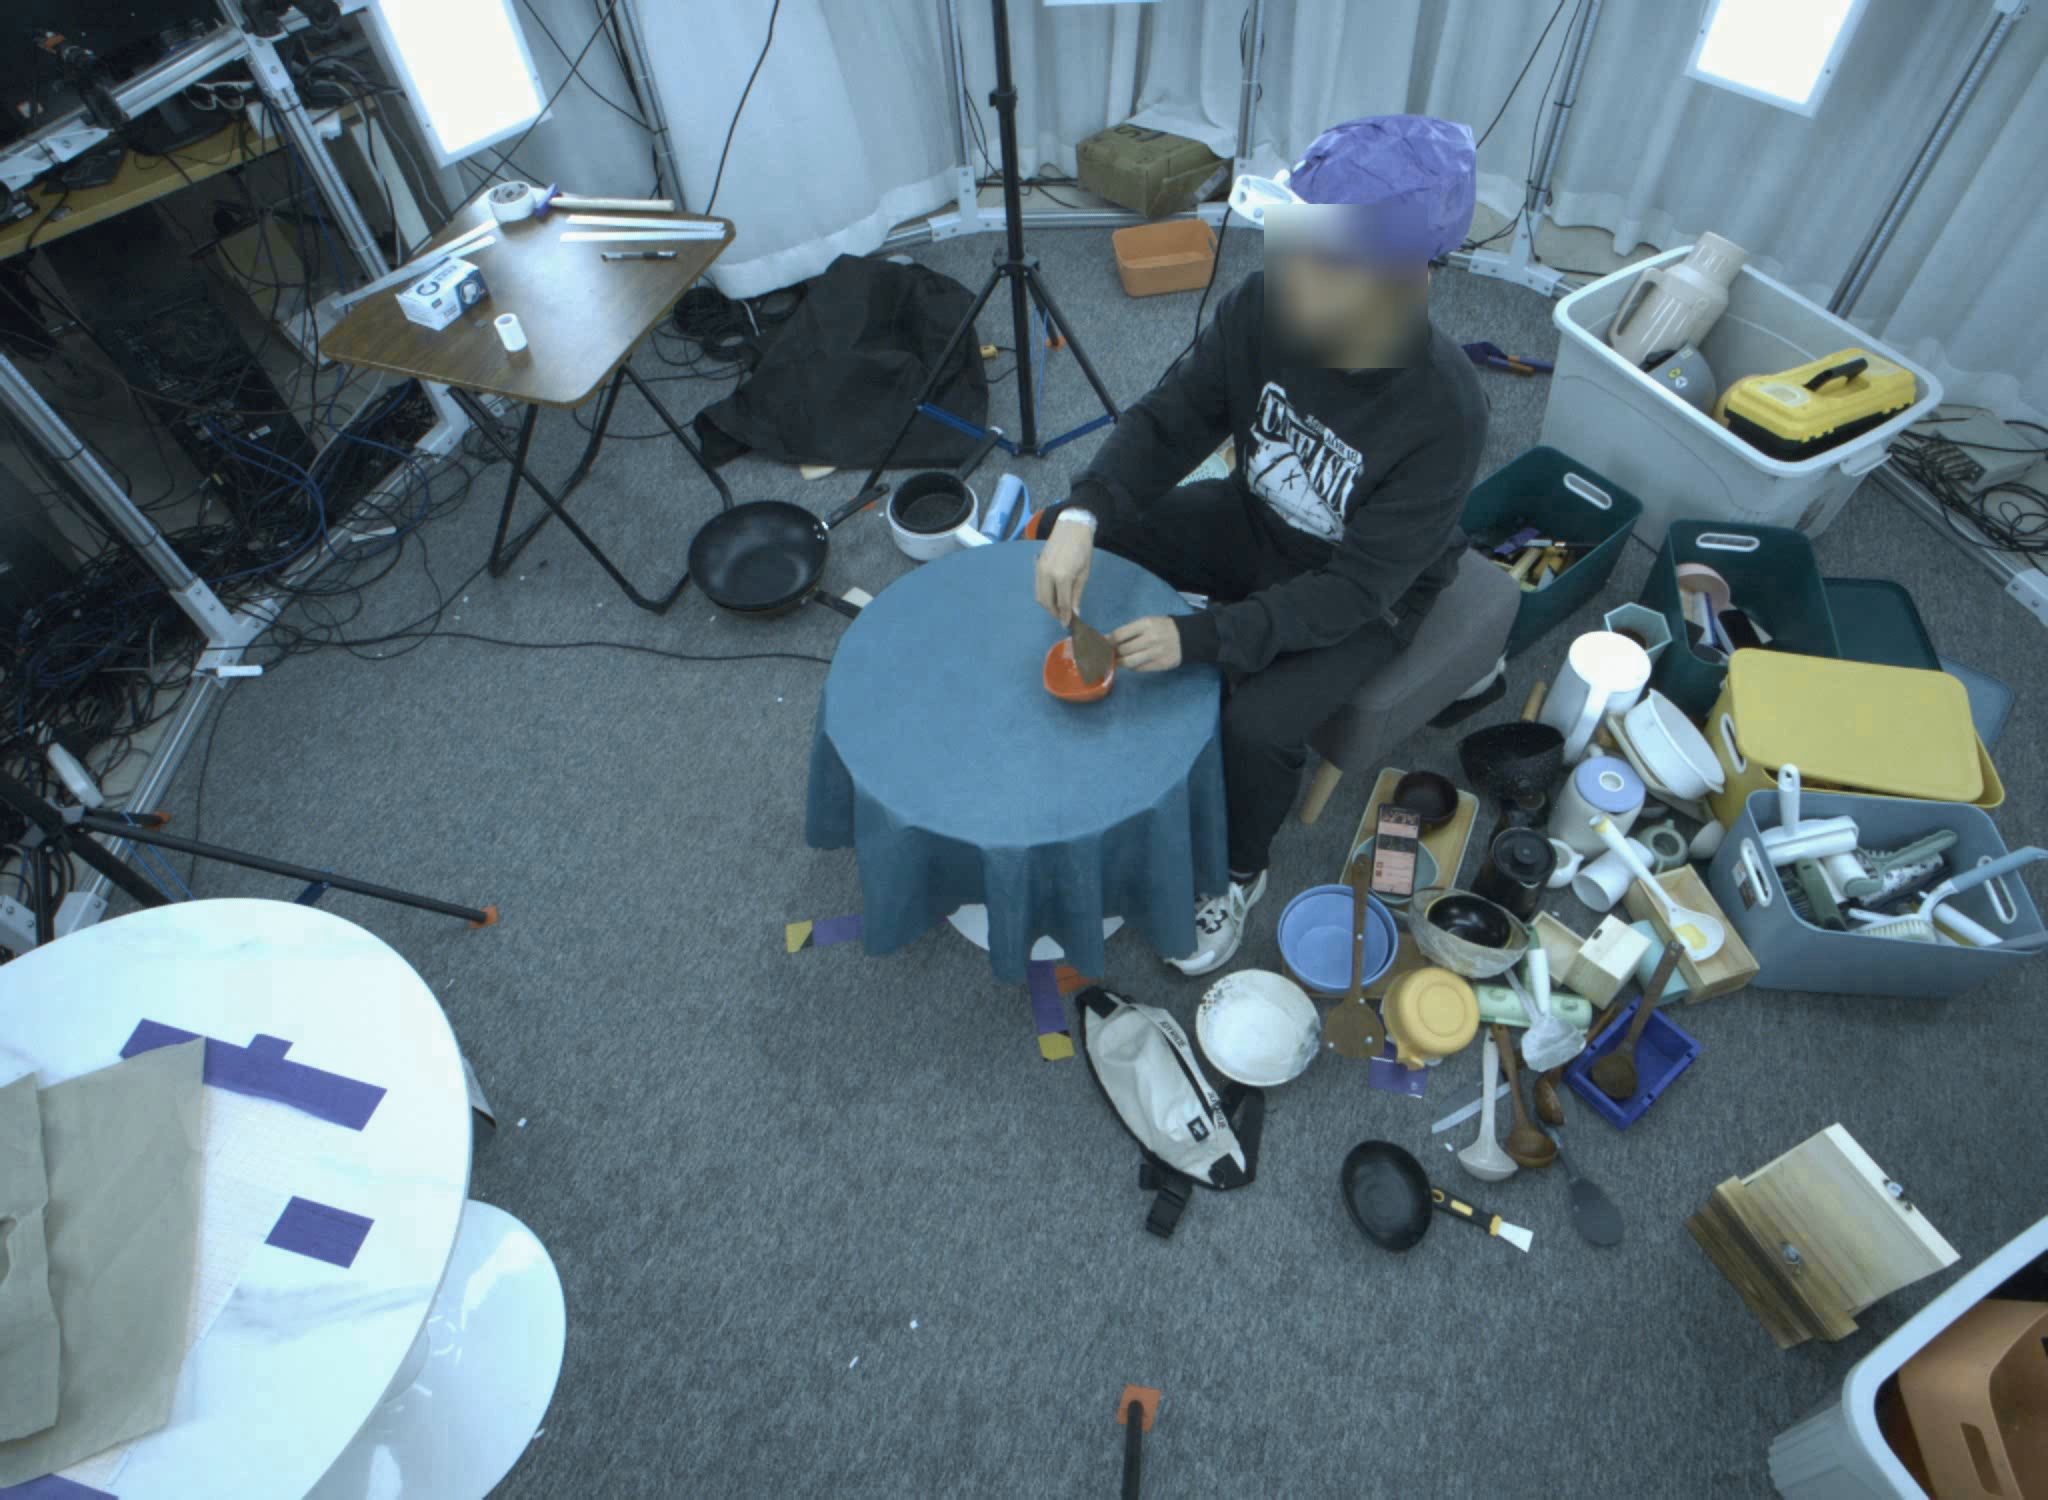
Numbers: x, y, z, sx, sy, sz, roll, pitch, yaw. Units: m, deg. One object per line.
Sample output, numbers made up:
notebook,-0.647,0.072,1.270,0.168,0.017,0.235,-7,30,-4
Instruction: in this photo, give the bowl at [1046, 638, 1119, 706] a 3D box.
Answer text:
bowl,0.093,-0.108,1.832,0.118,0.052,0.118,-10,55,16

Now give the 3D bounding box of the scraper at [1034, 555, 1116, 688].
scraper,0.069,-0.195,1.808,0.011,0.075,0.210,-19,77,-43
